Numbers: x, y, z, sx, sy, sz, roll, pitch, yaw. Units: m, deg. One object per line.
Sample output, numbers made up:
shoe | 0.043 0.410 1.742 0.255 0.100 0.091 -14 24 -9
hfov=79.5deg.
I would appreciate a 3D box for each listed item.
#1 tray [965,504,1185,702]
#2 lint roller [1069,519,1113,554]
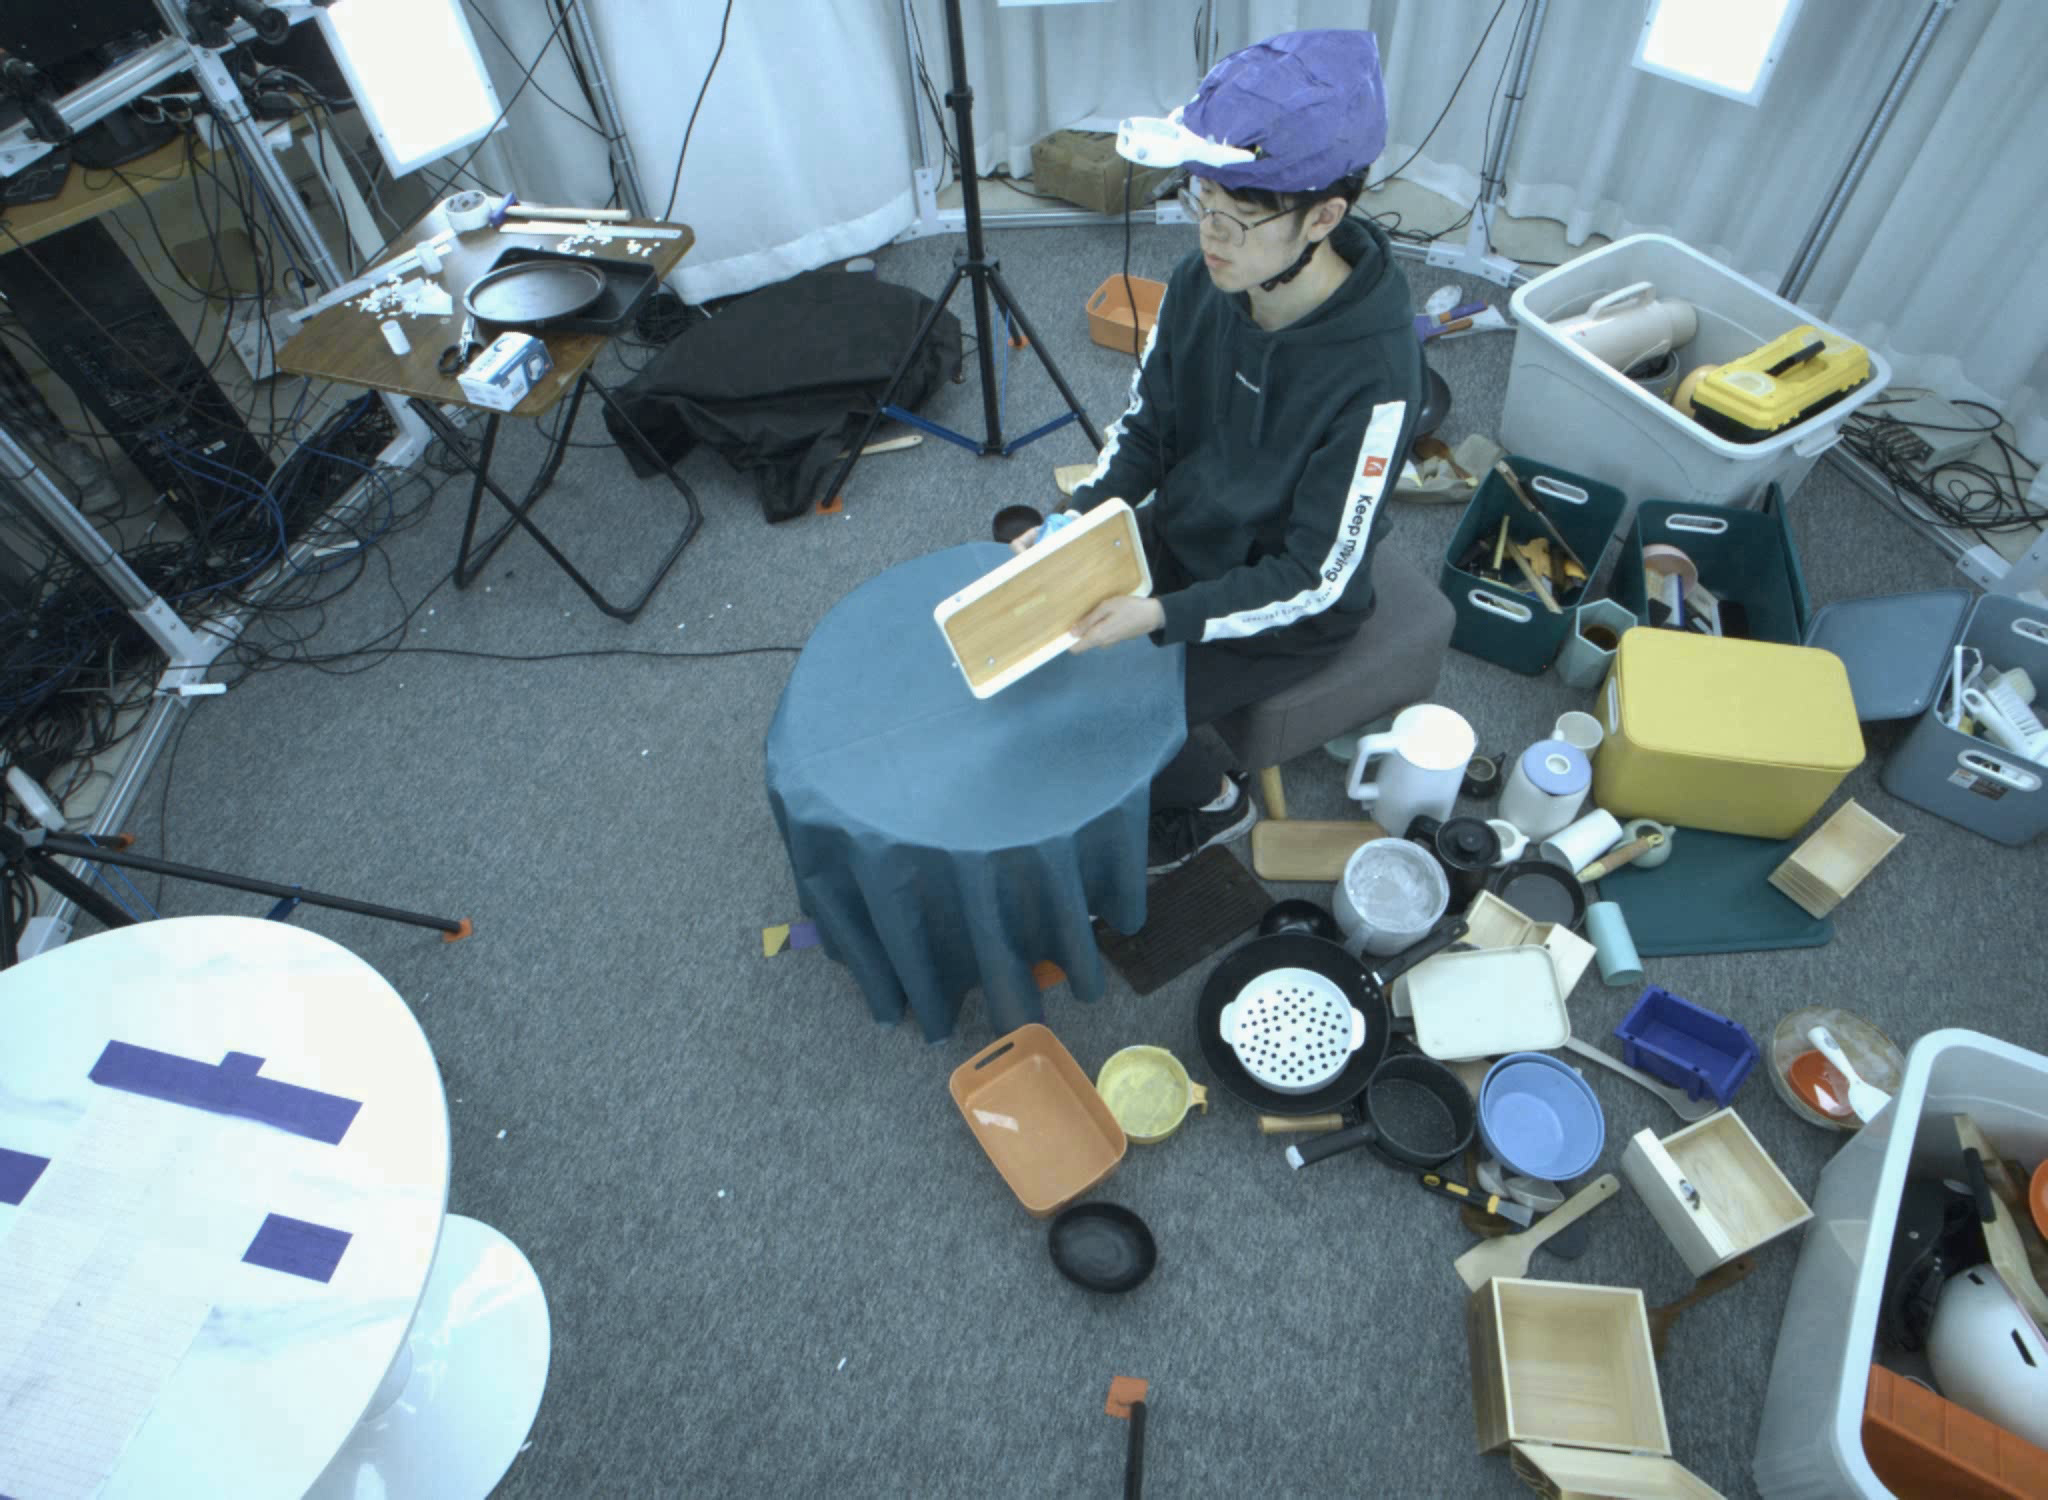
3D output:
tray | 0.075 -0.196 1.666 0.301 0.195 0.027 -31 54 -6
lint roller | 0.082 -0.252 1.773 0.068 0.228 0.180 28 35 -2
